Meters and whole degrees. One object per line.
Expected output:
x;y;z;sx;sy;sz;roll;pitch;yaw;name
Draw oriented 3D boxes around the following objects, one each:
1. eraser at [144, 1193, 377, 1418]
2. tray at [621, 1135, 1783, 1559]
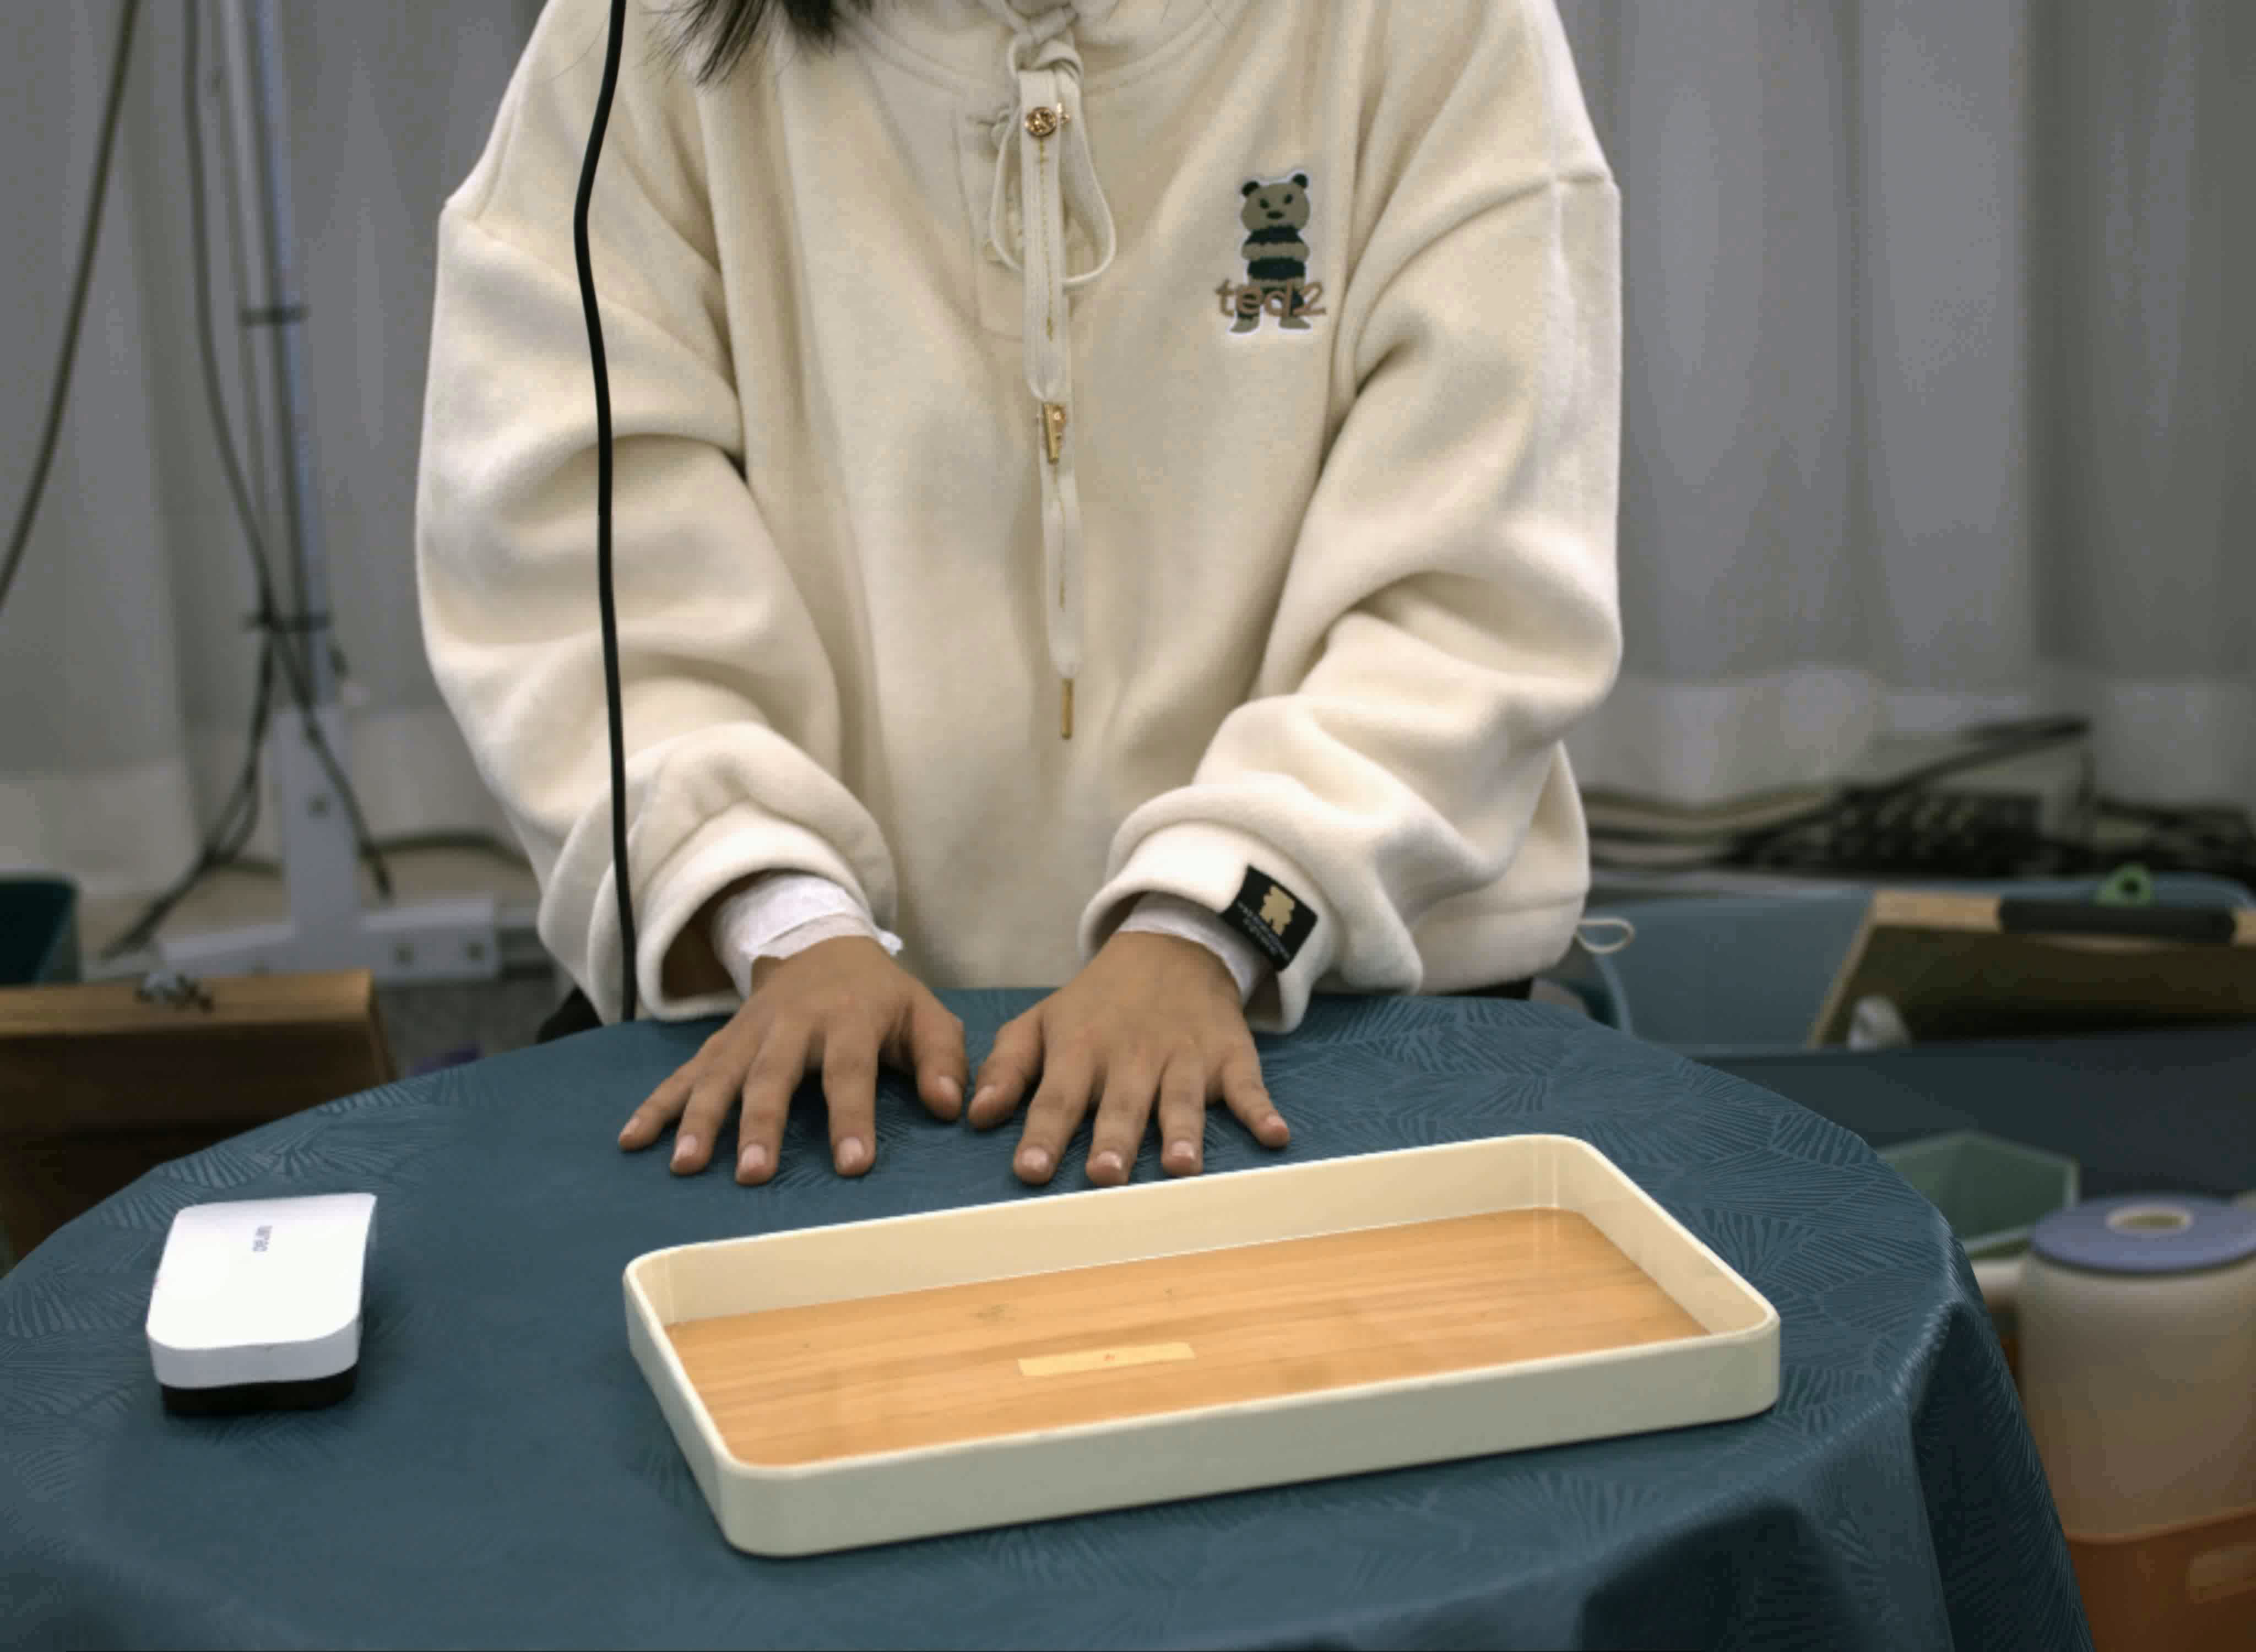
-0.254;0.137;1.619;0.063;0.034;0.132;-3;16;-3;eraser
0.017;0.144;1.548;0.299;0.027;0.193;-7;15;-13;tray
